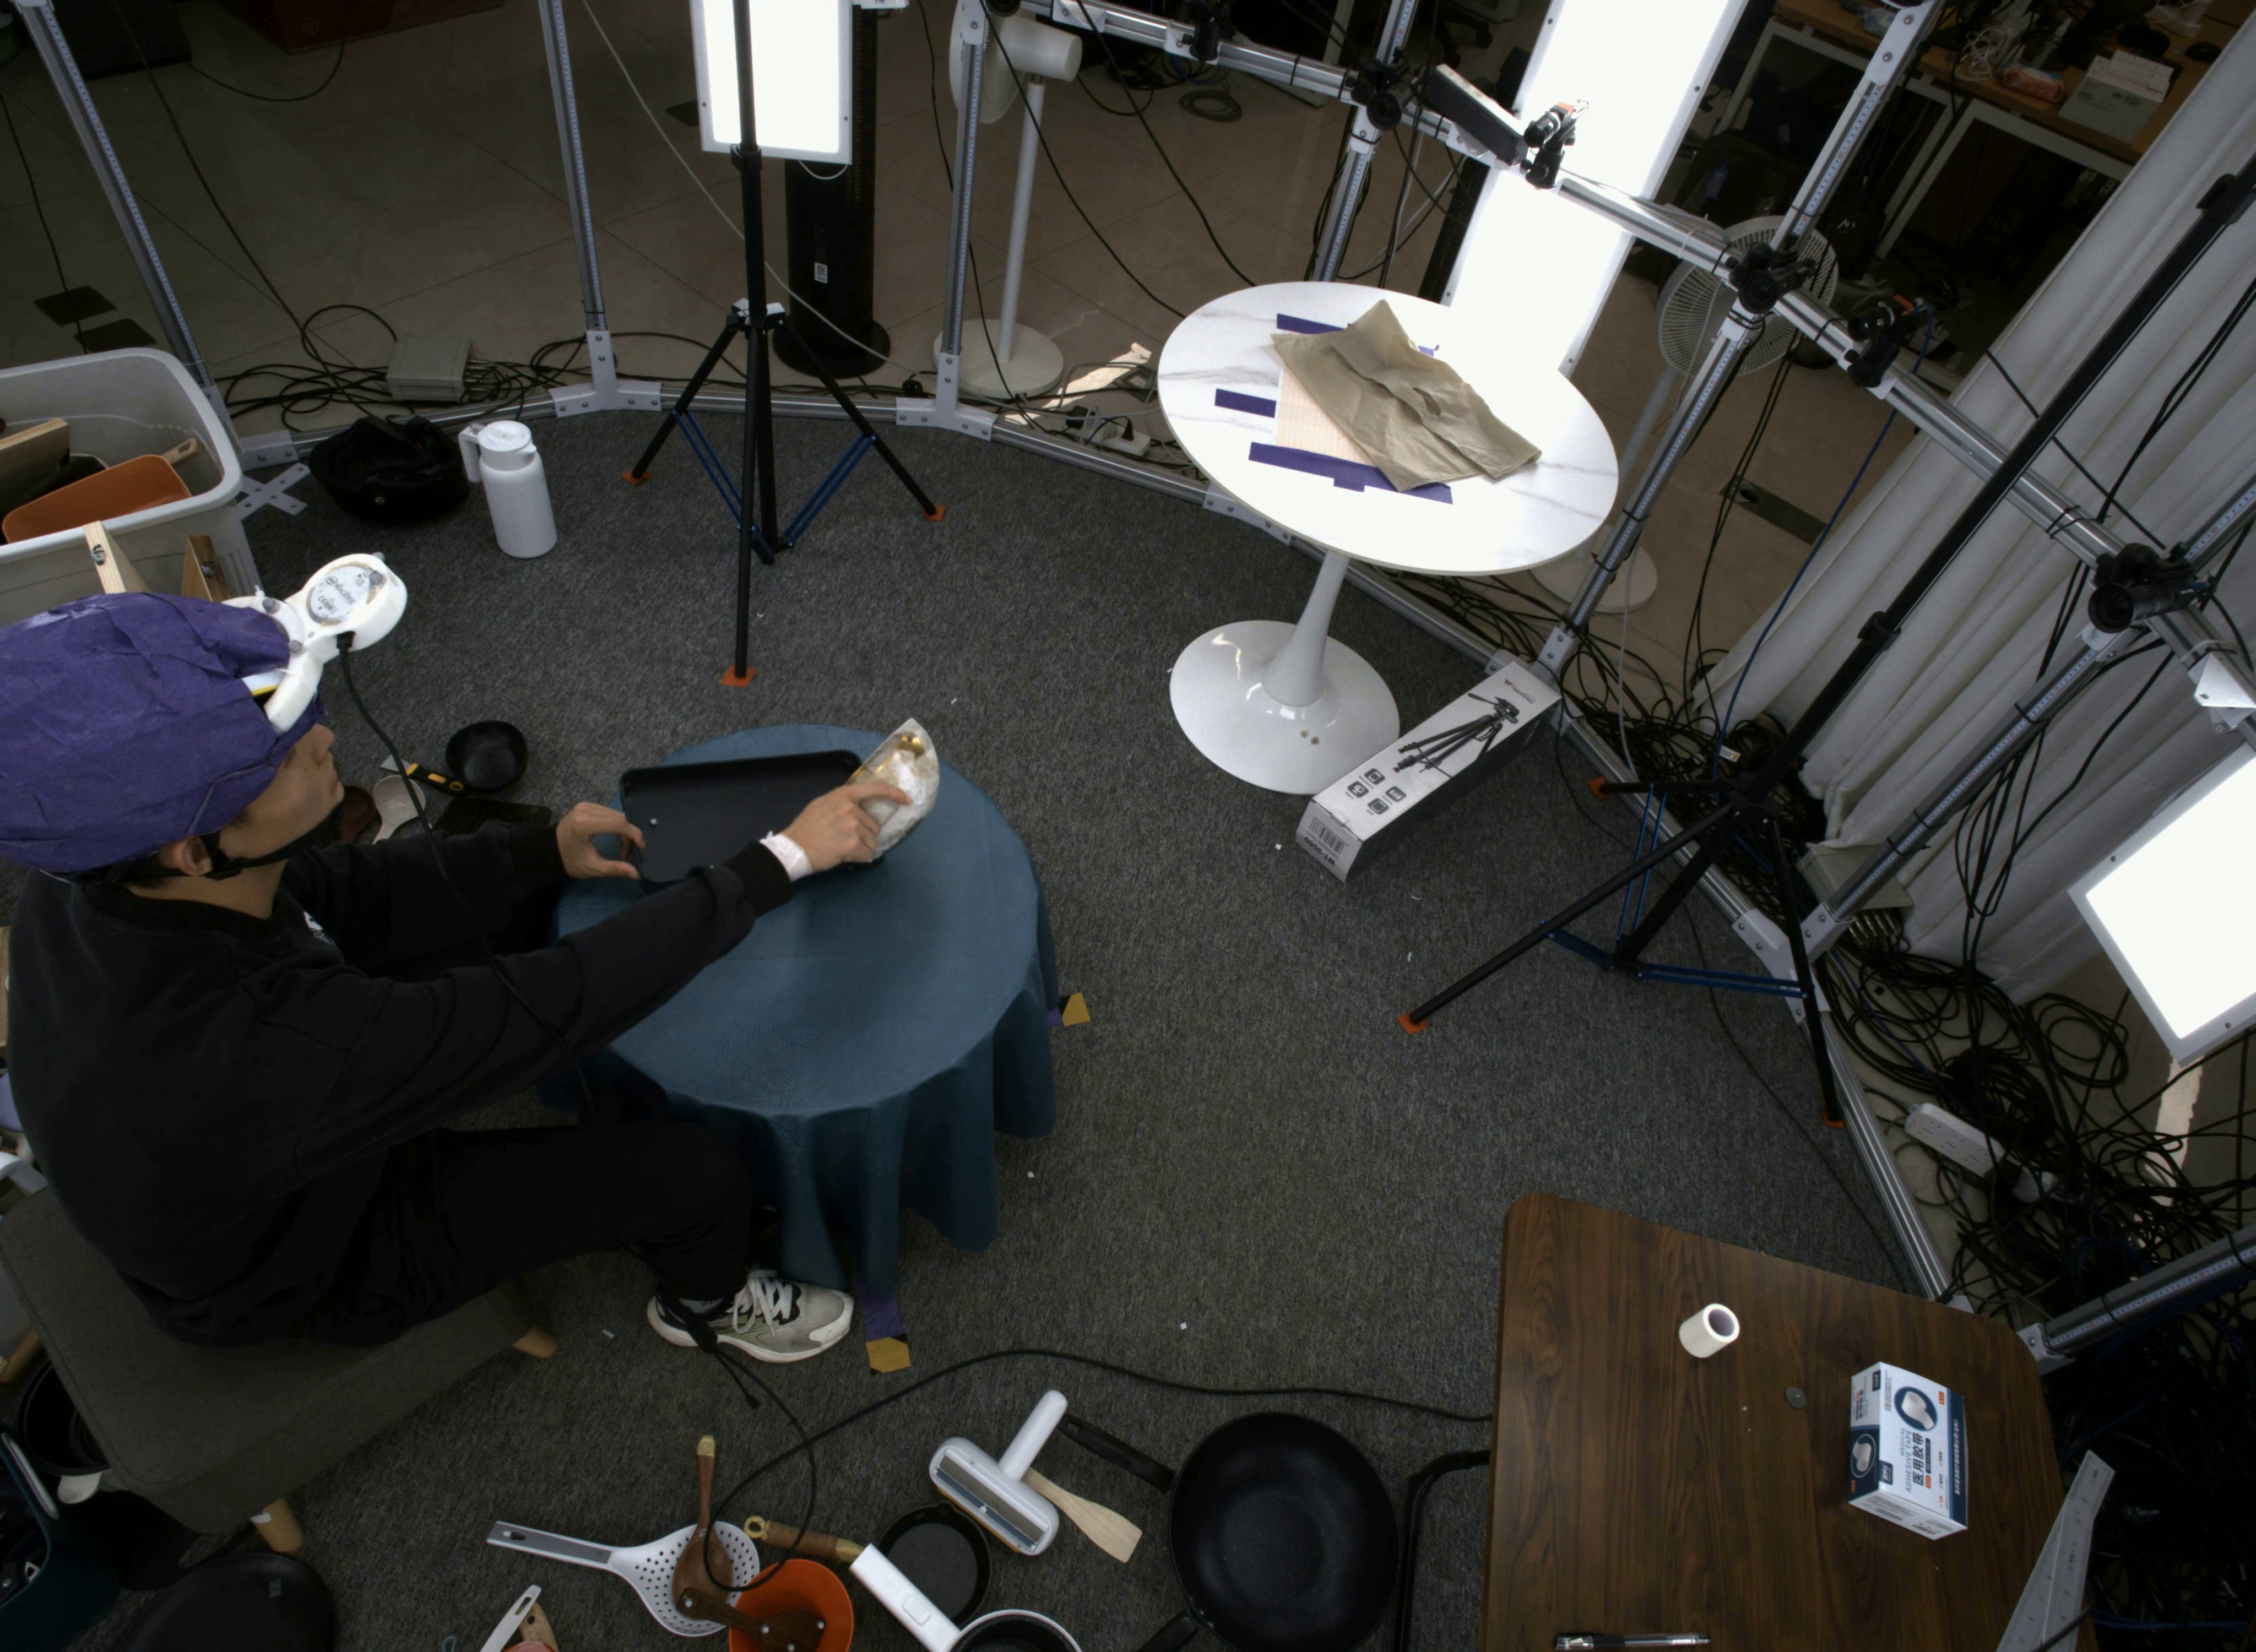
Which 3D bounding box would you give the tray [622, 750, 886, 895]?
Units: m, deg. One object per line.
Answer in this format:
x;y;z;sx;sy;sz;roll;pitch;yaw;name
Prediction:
-0.481;-0.010;1.670;0.321;0.037;0.179;-6;55;-29;tray

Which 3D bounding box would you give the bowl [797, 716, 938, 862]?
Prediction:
-0.302;-0.026;1.589;0.096;0.211;0.213;44;49;-16;bowl
